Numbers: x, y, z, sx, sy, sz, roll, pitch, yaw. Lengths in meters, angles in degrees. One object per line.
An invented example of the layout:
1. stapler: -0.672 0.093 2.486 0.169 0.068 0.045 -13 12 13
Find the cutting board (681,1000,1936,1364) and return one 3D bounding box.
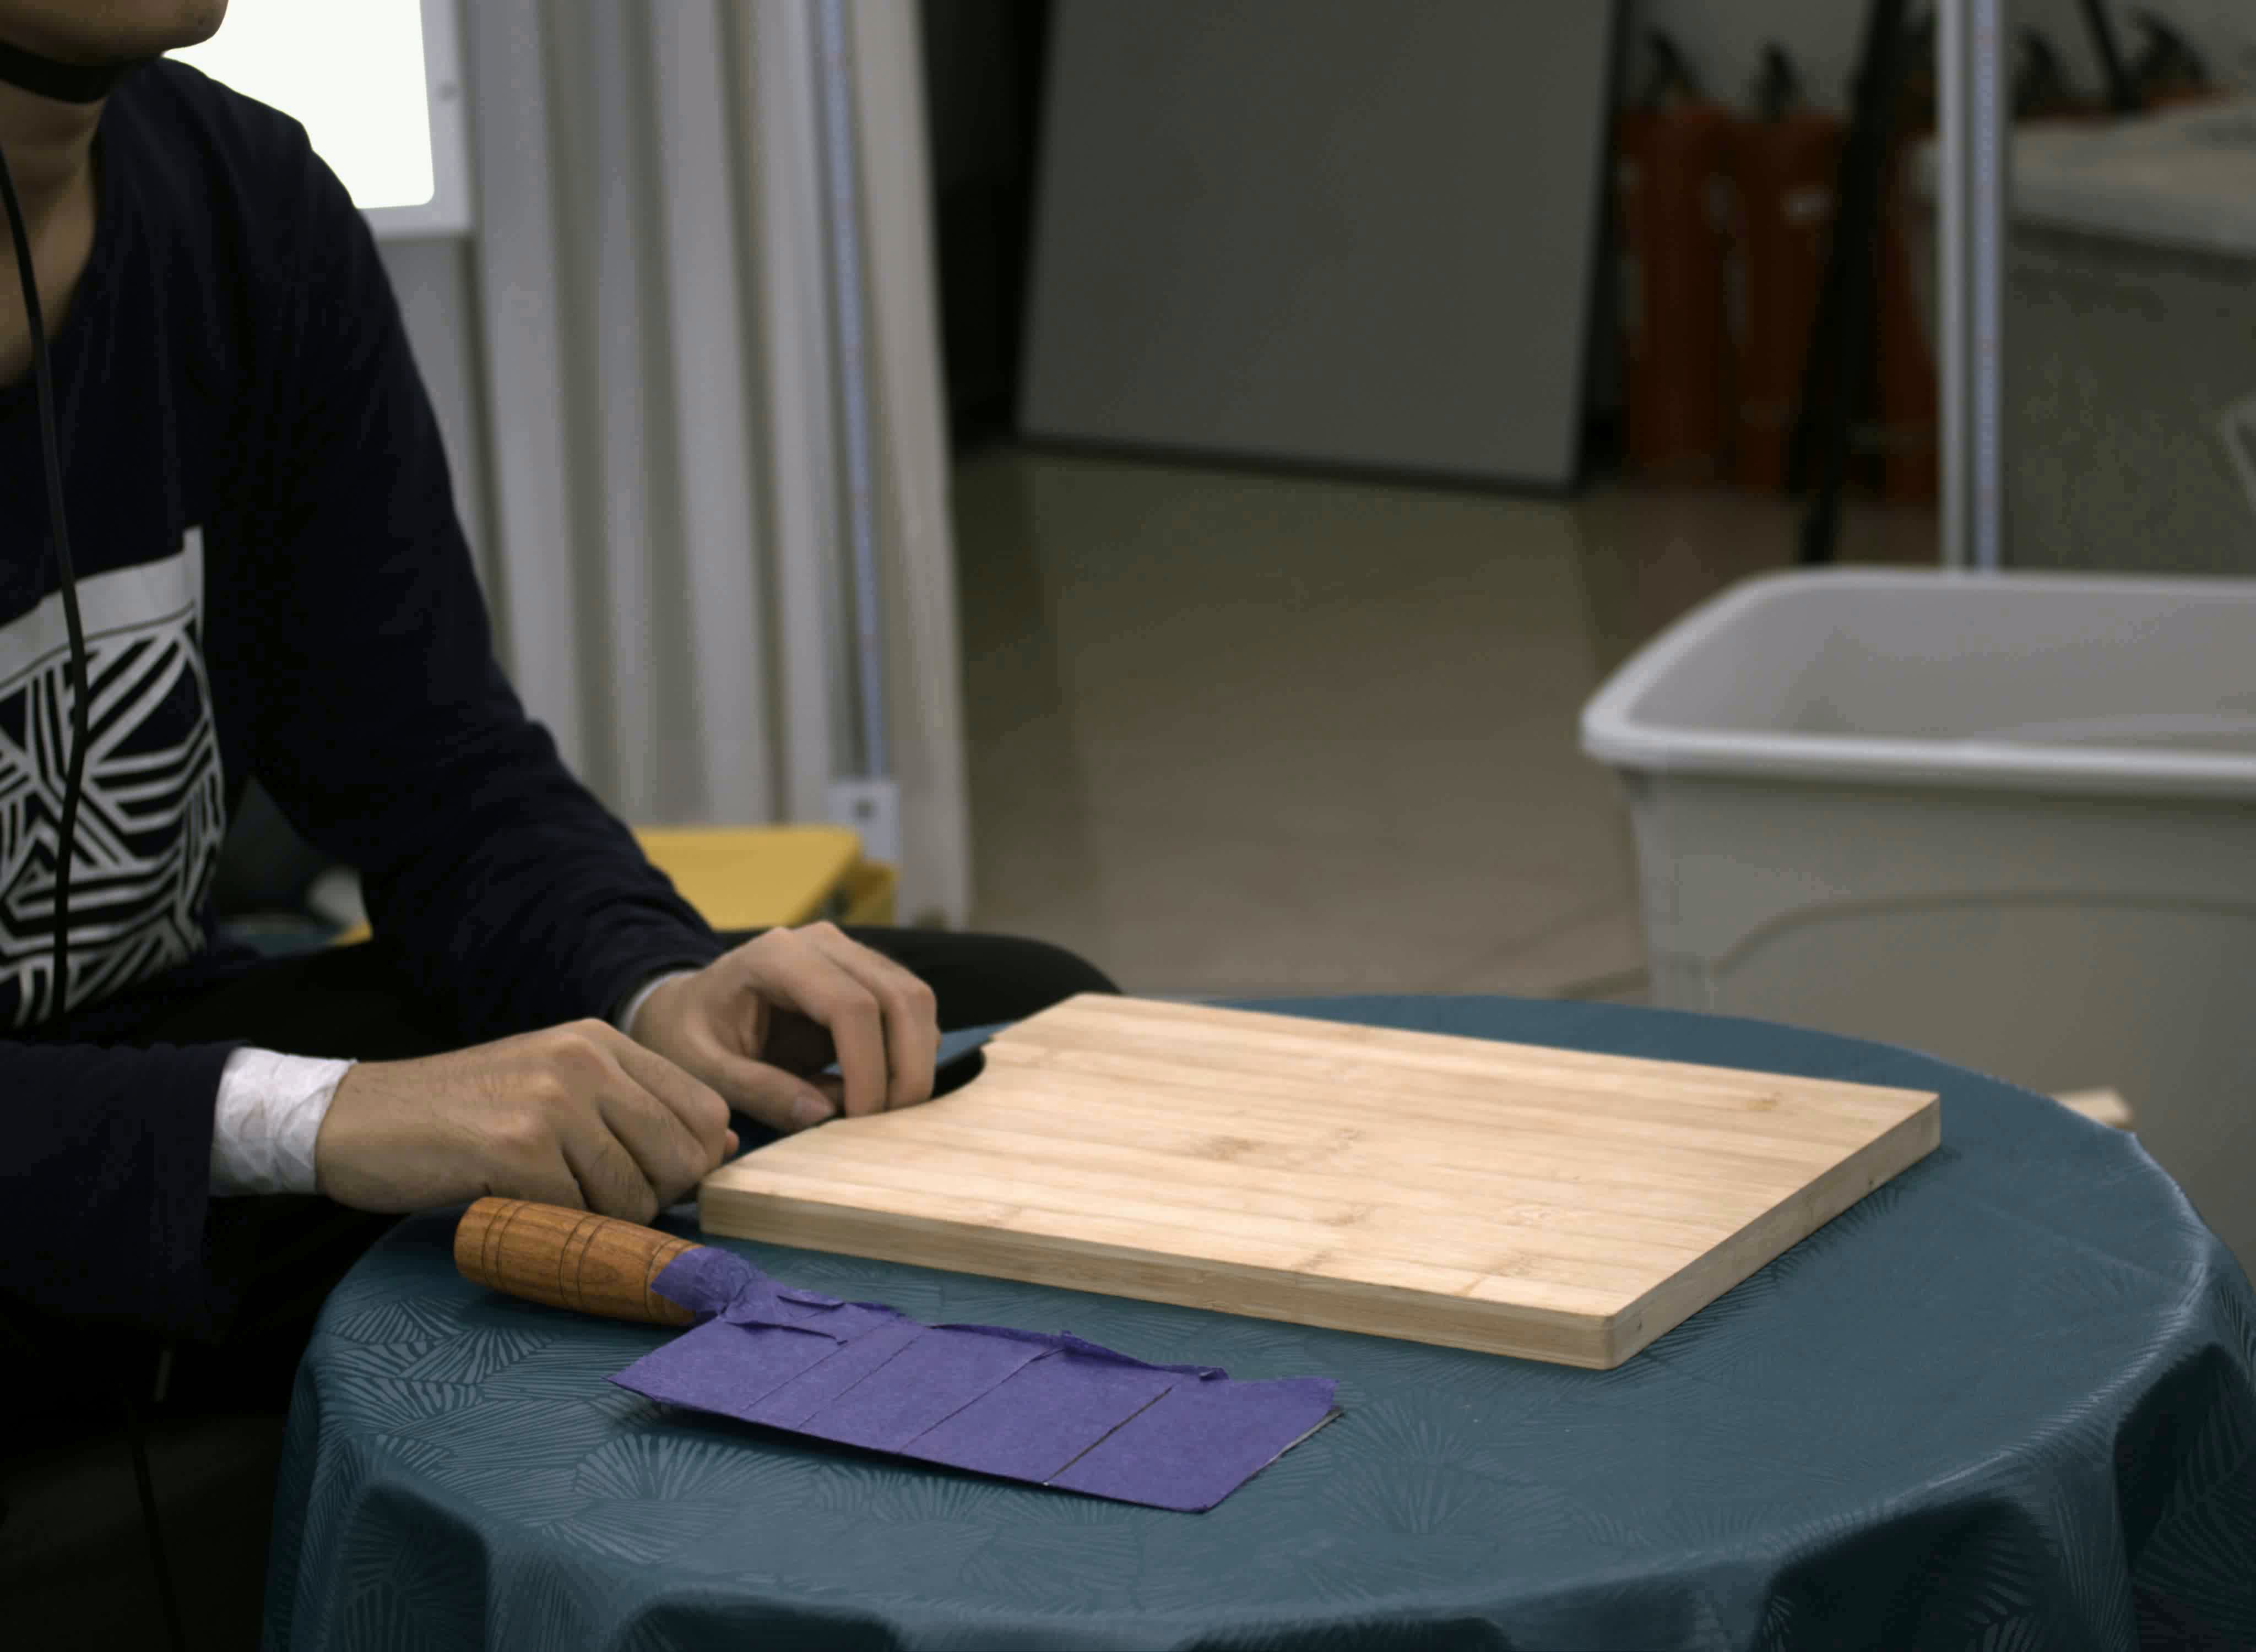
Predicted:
1. cutting board: 0.059 0.111 1.764 0.350 0.024 0.246 4 16 33

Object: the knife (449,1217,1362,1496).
1. knife: -0.088 0.156 1.600 0.316 0.032 0.102 5 16 32
